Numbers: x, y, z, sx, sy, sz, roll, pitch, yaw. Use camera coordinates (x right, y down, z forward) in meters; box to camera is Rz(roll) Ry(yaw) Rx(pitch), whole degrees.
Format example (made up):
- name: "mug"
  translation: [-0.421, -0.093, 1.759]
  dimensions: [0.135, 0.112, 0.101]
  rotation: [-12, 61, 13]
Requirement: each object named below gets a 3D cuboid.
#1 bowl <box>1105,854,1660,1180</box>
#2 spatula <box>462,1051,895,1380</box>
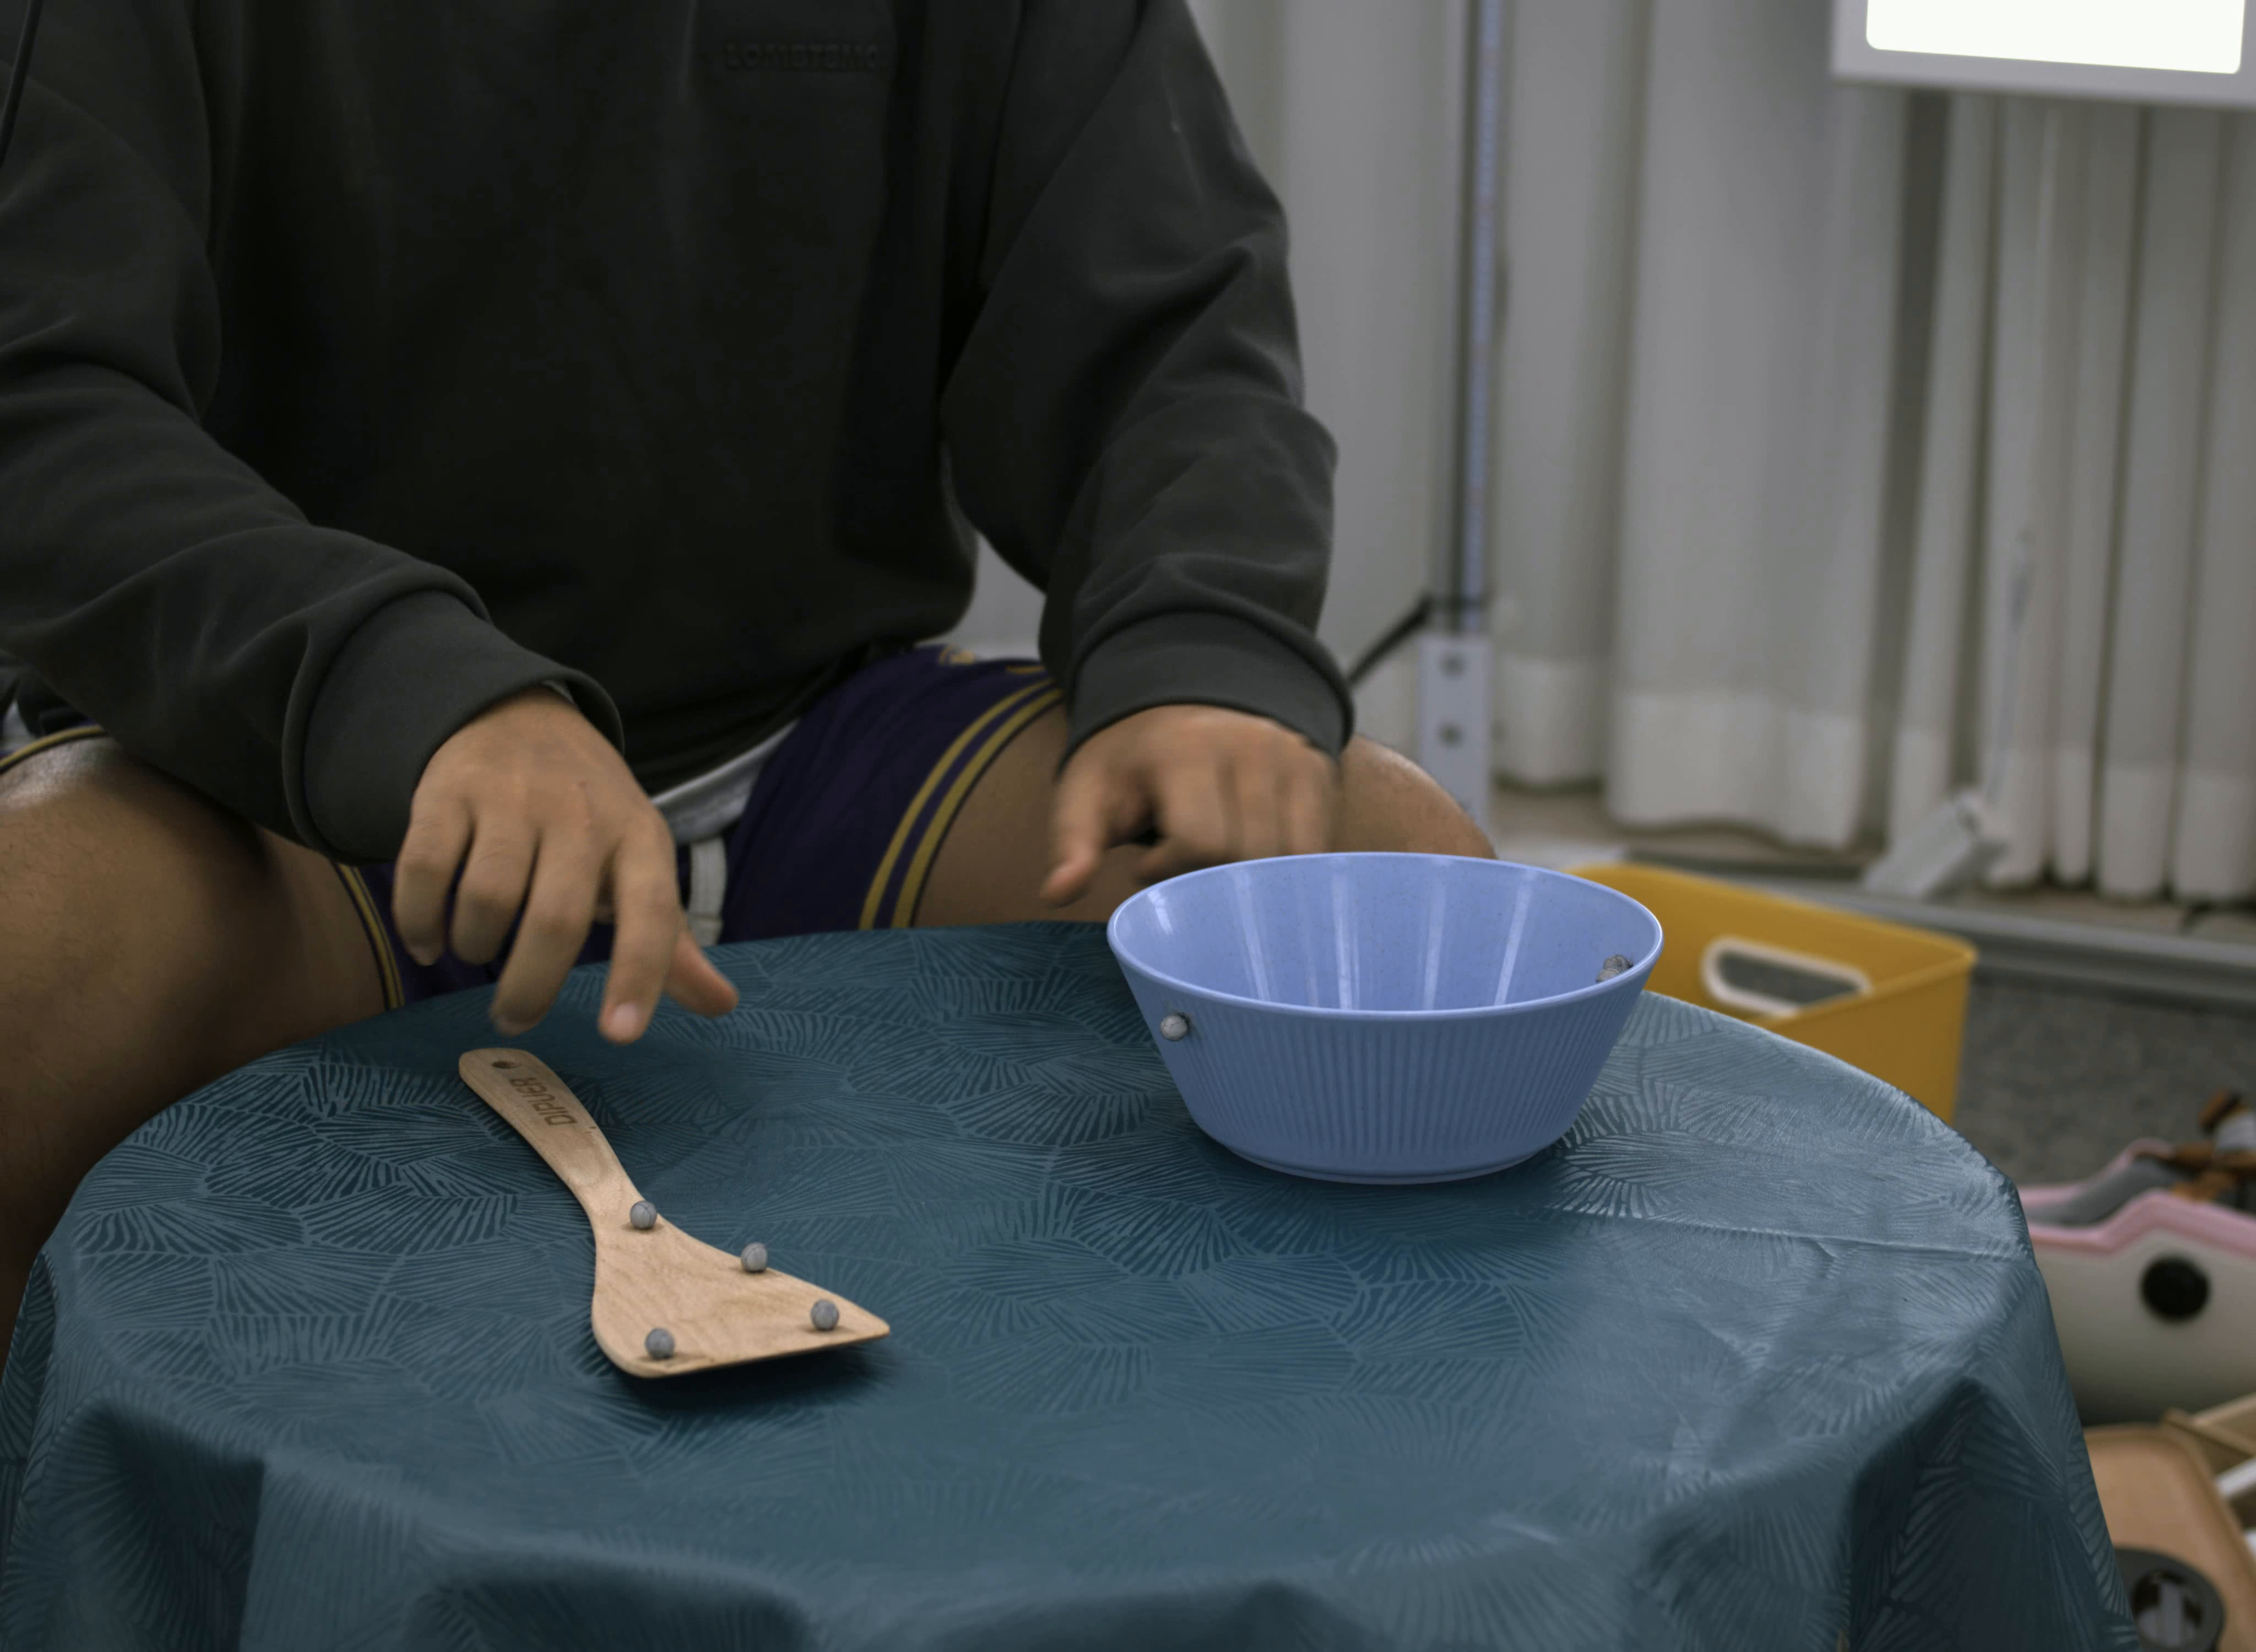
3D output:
- name: "bowl"
  translation: [0.080, 0.063, 1.672]
  dimensions: [0.175, 0.071, 0.175]
  rotation: [1, 16, 0]
- name: "spatula"
  translation: [-0.152, 0.112, 1.587]
  dimensions: [0.080, 0.016, 0.324]
  rotation: [-6, 16, -20]
